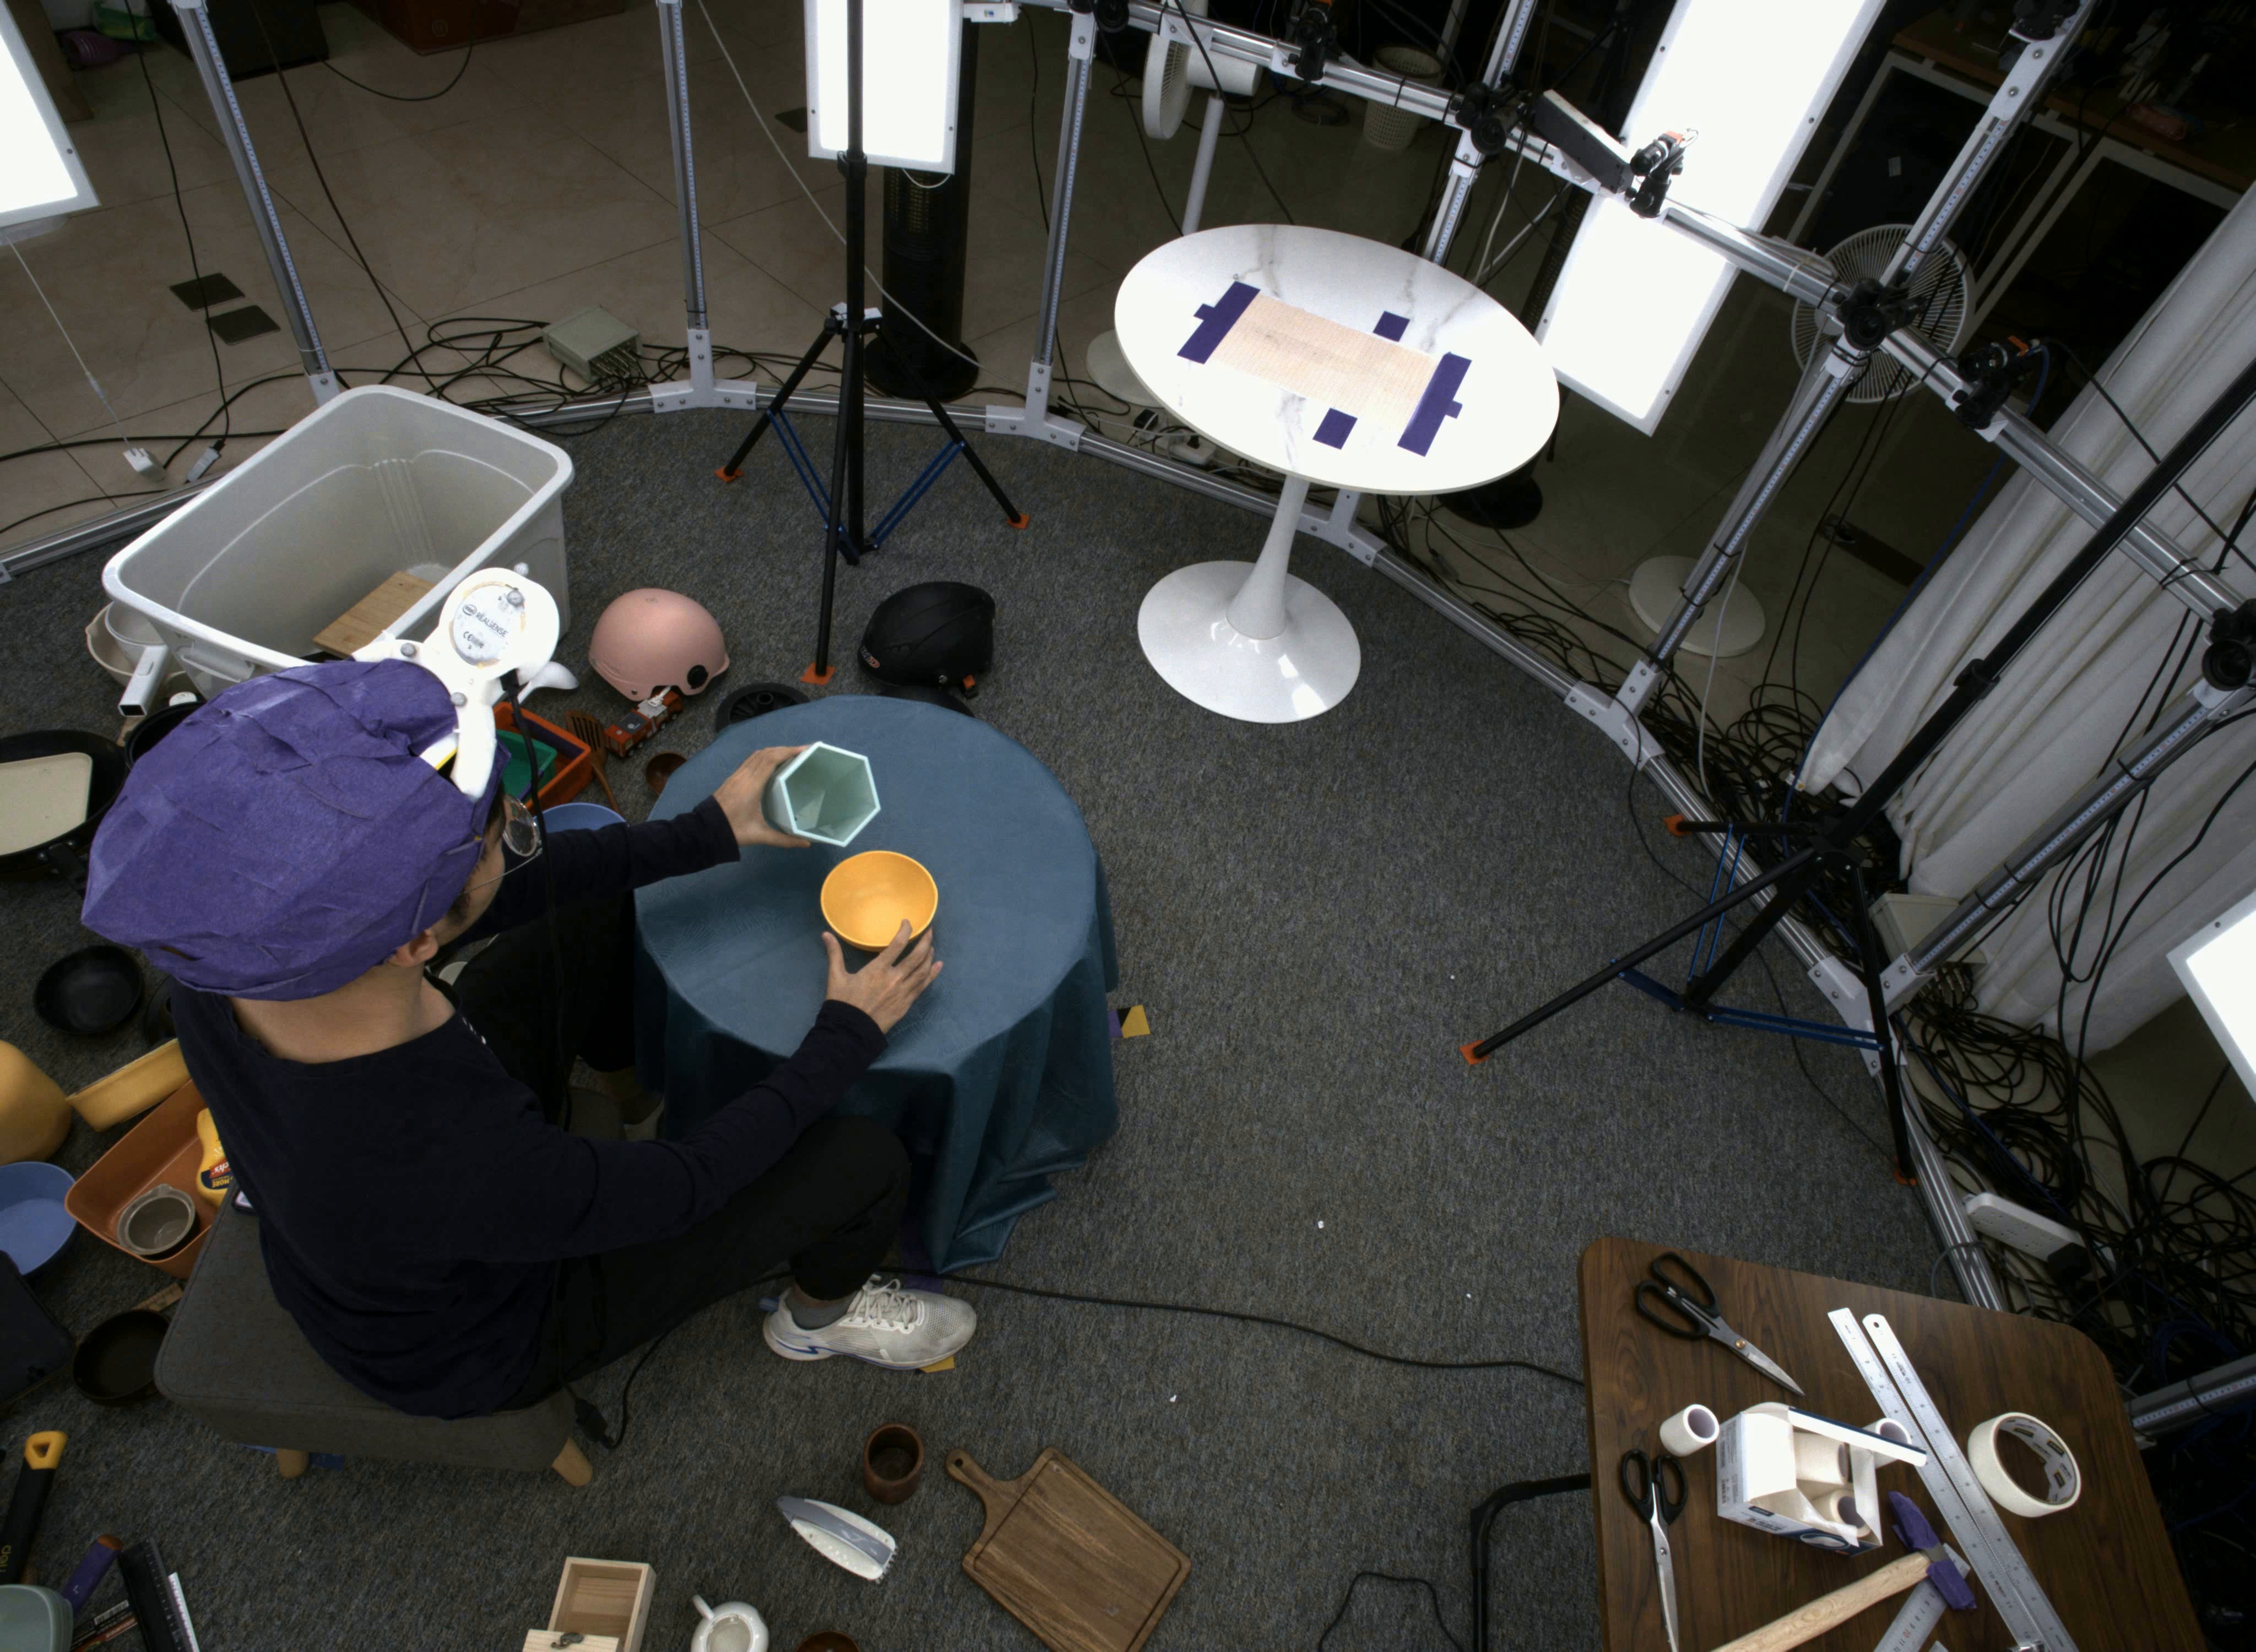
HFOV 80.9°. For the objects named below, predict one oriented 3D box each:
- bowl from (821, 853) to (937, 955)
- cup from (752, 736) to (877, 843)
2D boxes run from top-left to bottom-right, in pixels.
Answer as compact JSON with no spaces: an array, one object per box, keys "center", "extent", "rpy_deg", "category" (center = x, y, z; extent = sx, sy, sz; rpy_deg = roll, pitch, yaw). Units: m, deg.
[{"center":[-0.312,0.107,1.638],"extent":[0.145,0.061,0.143],"rpy_deg":[6,53,-7],"category":"bowl"},{"center":[-0.400,-0.039,1.618],"extent":[0.116,0.159,0.133],"rpy_deg":[-21,98,-30],"category":"cup"}]
